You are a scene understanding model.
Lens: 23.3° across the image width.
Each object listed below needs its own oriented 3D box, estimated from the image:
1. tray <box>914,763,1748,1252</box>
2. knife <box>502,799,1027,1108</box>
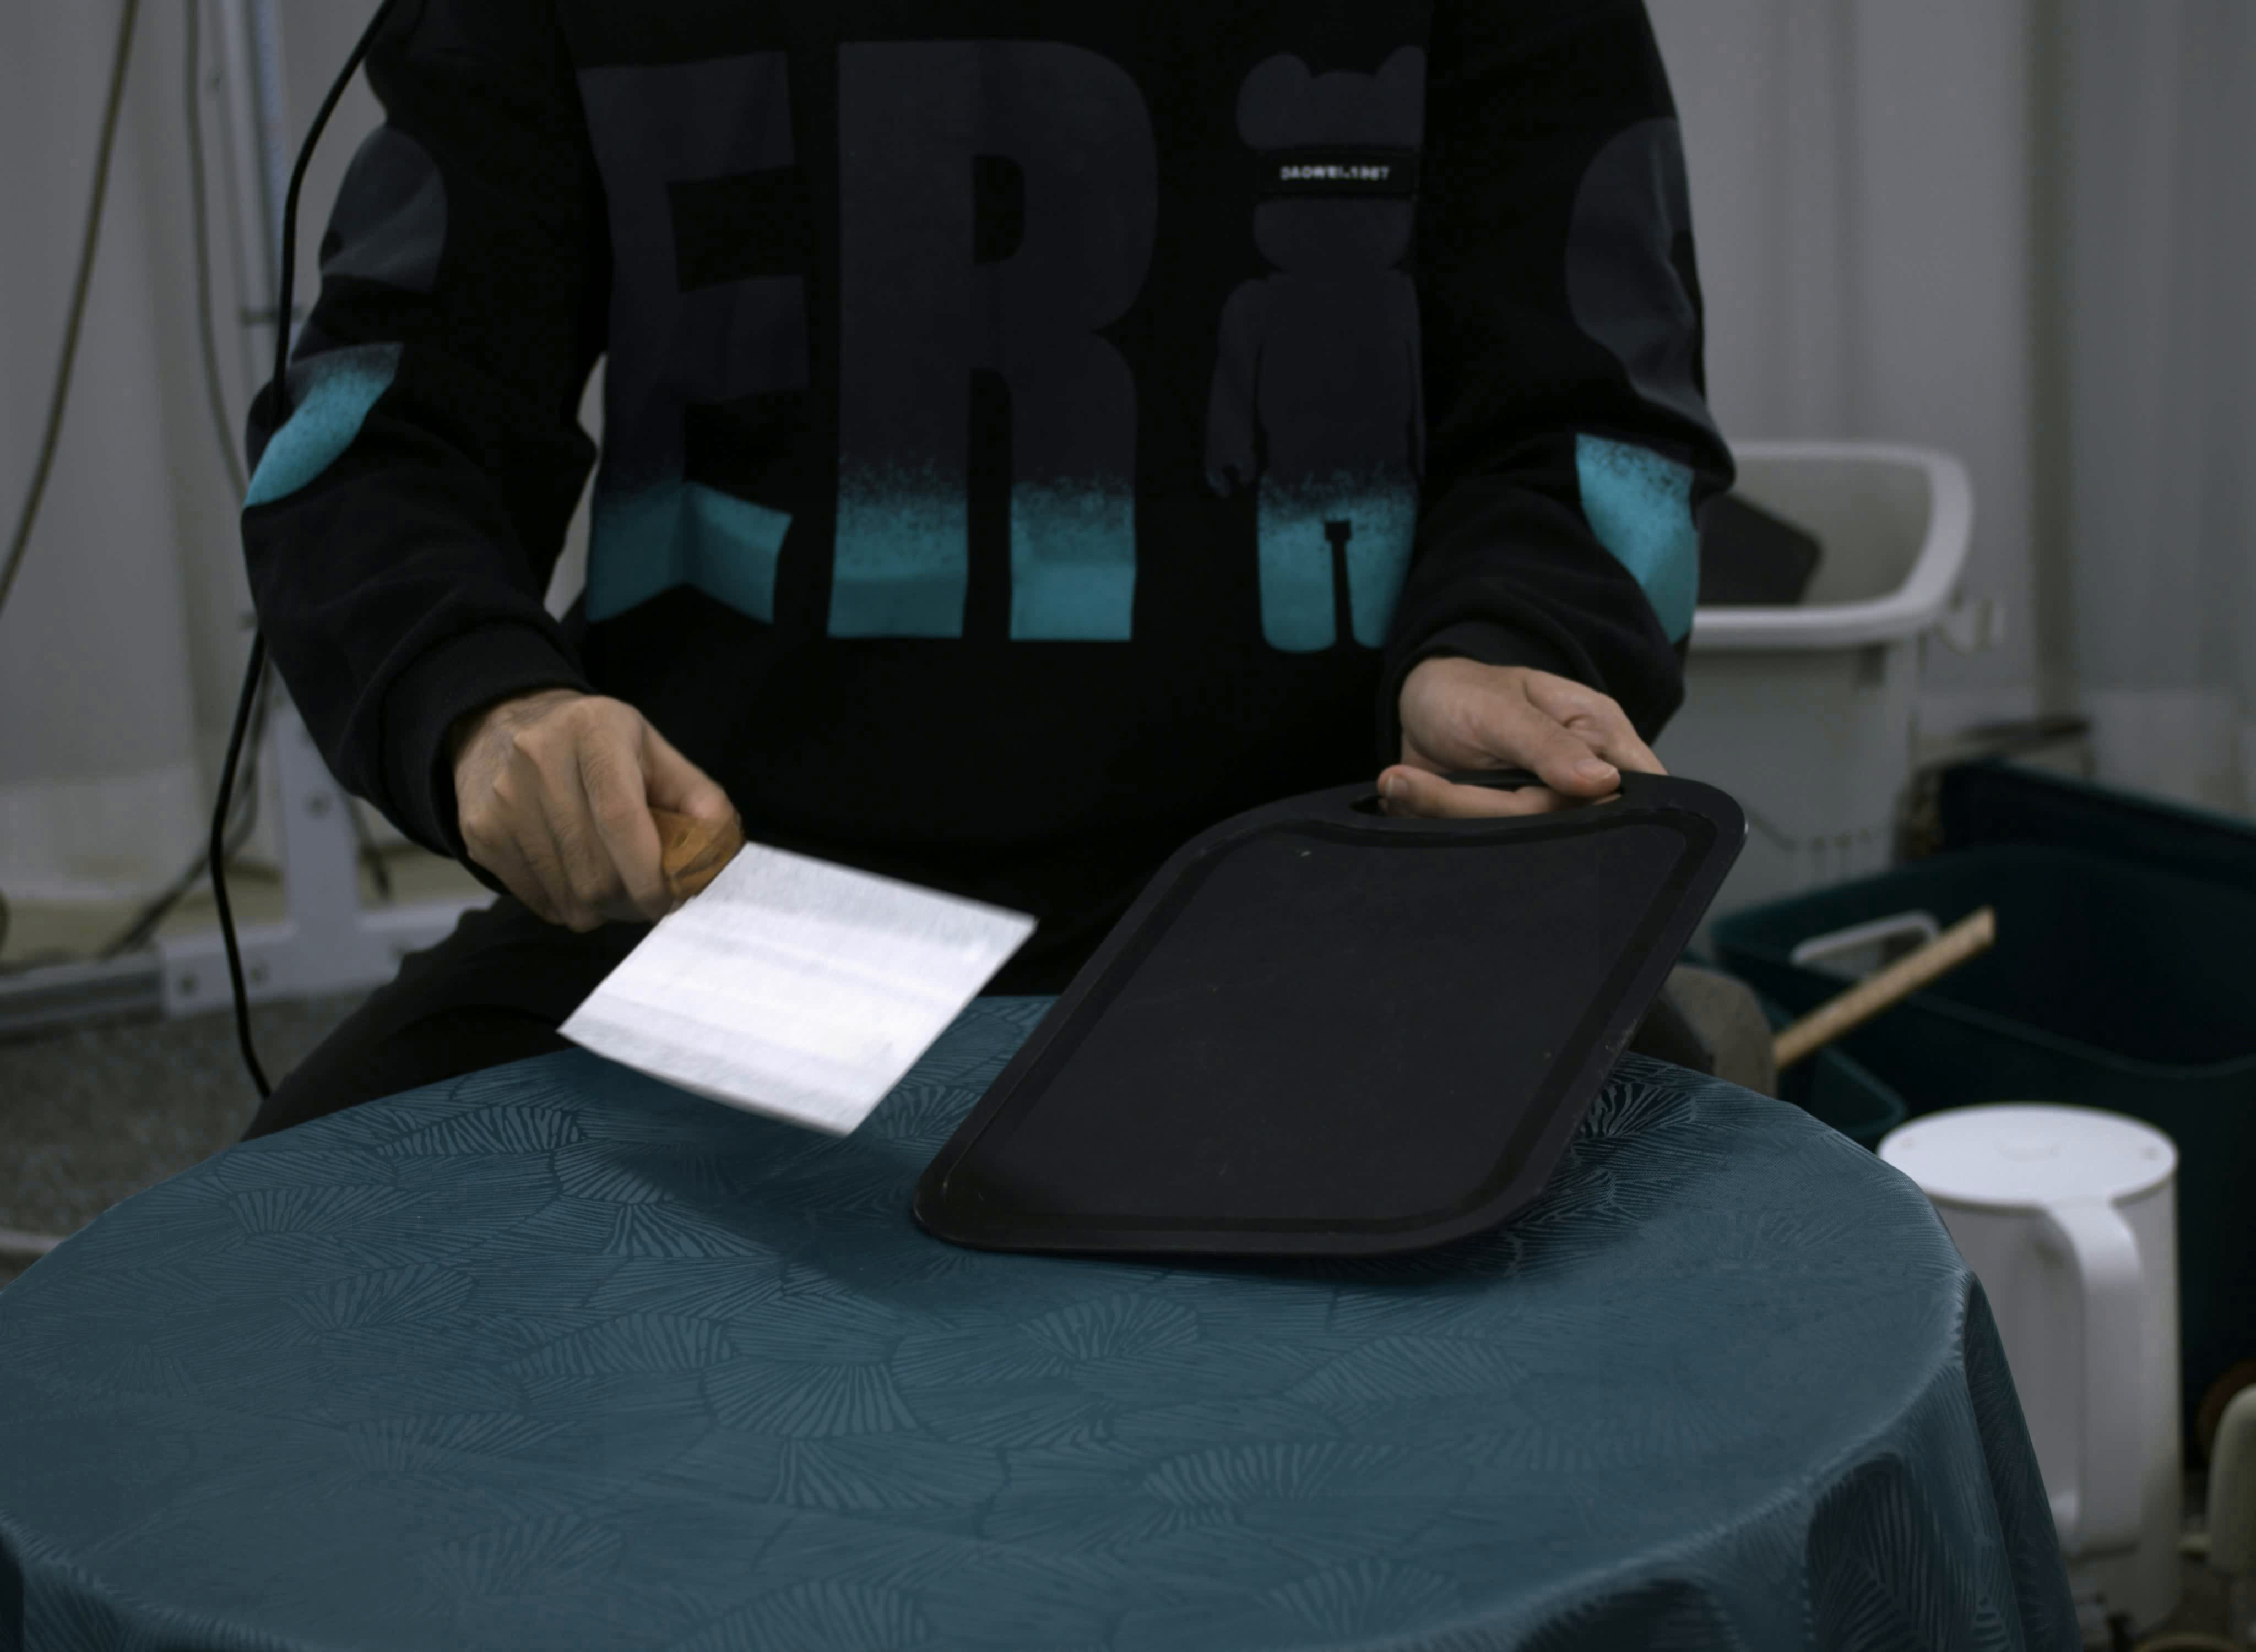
[{"bbox_3d":[0.072,0.052,1.771,0.211,0.010,0.328,-2,26,25],"label":"tray"},{"bbox_3d":[-0.139,0.042,1.770,0.093,0.021,0.307,-46,29,-18],"label":"knife"}]
